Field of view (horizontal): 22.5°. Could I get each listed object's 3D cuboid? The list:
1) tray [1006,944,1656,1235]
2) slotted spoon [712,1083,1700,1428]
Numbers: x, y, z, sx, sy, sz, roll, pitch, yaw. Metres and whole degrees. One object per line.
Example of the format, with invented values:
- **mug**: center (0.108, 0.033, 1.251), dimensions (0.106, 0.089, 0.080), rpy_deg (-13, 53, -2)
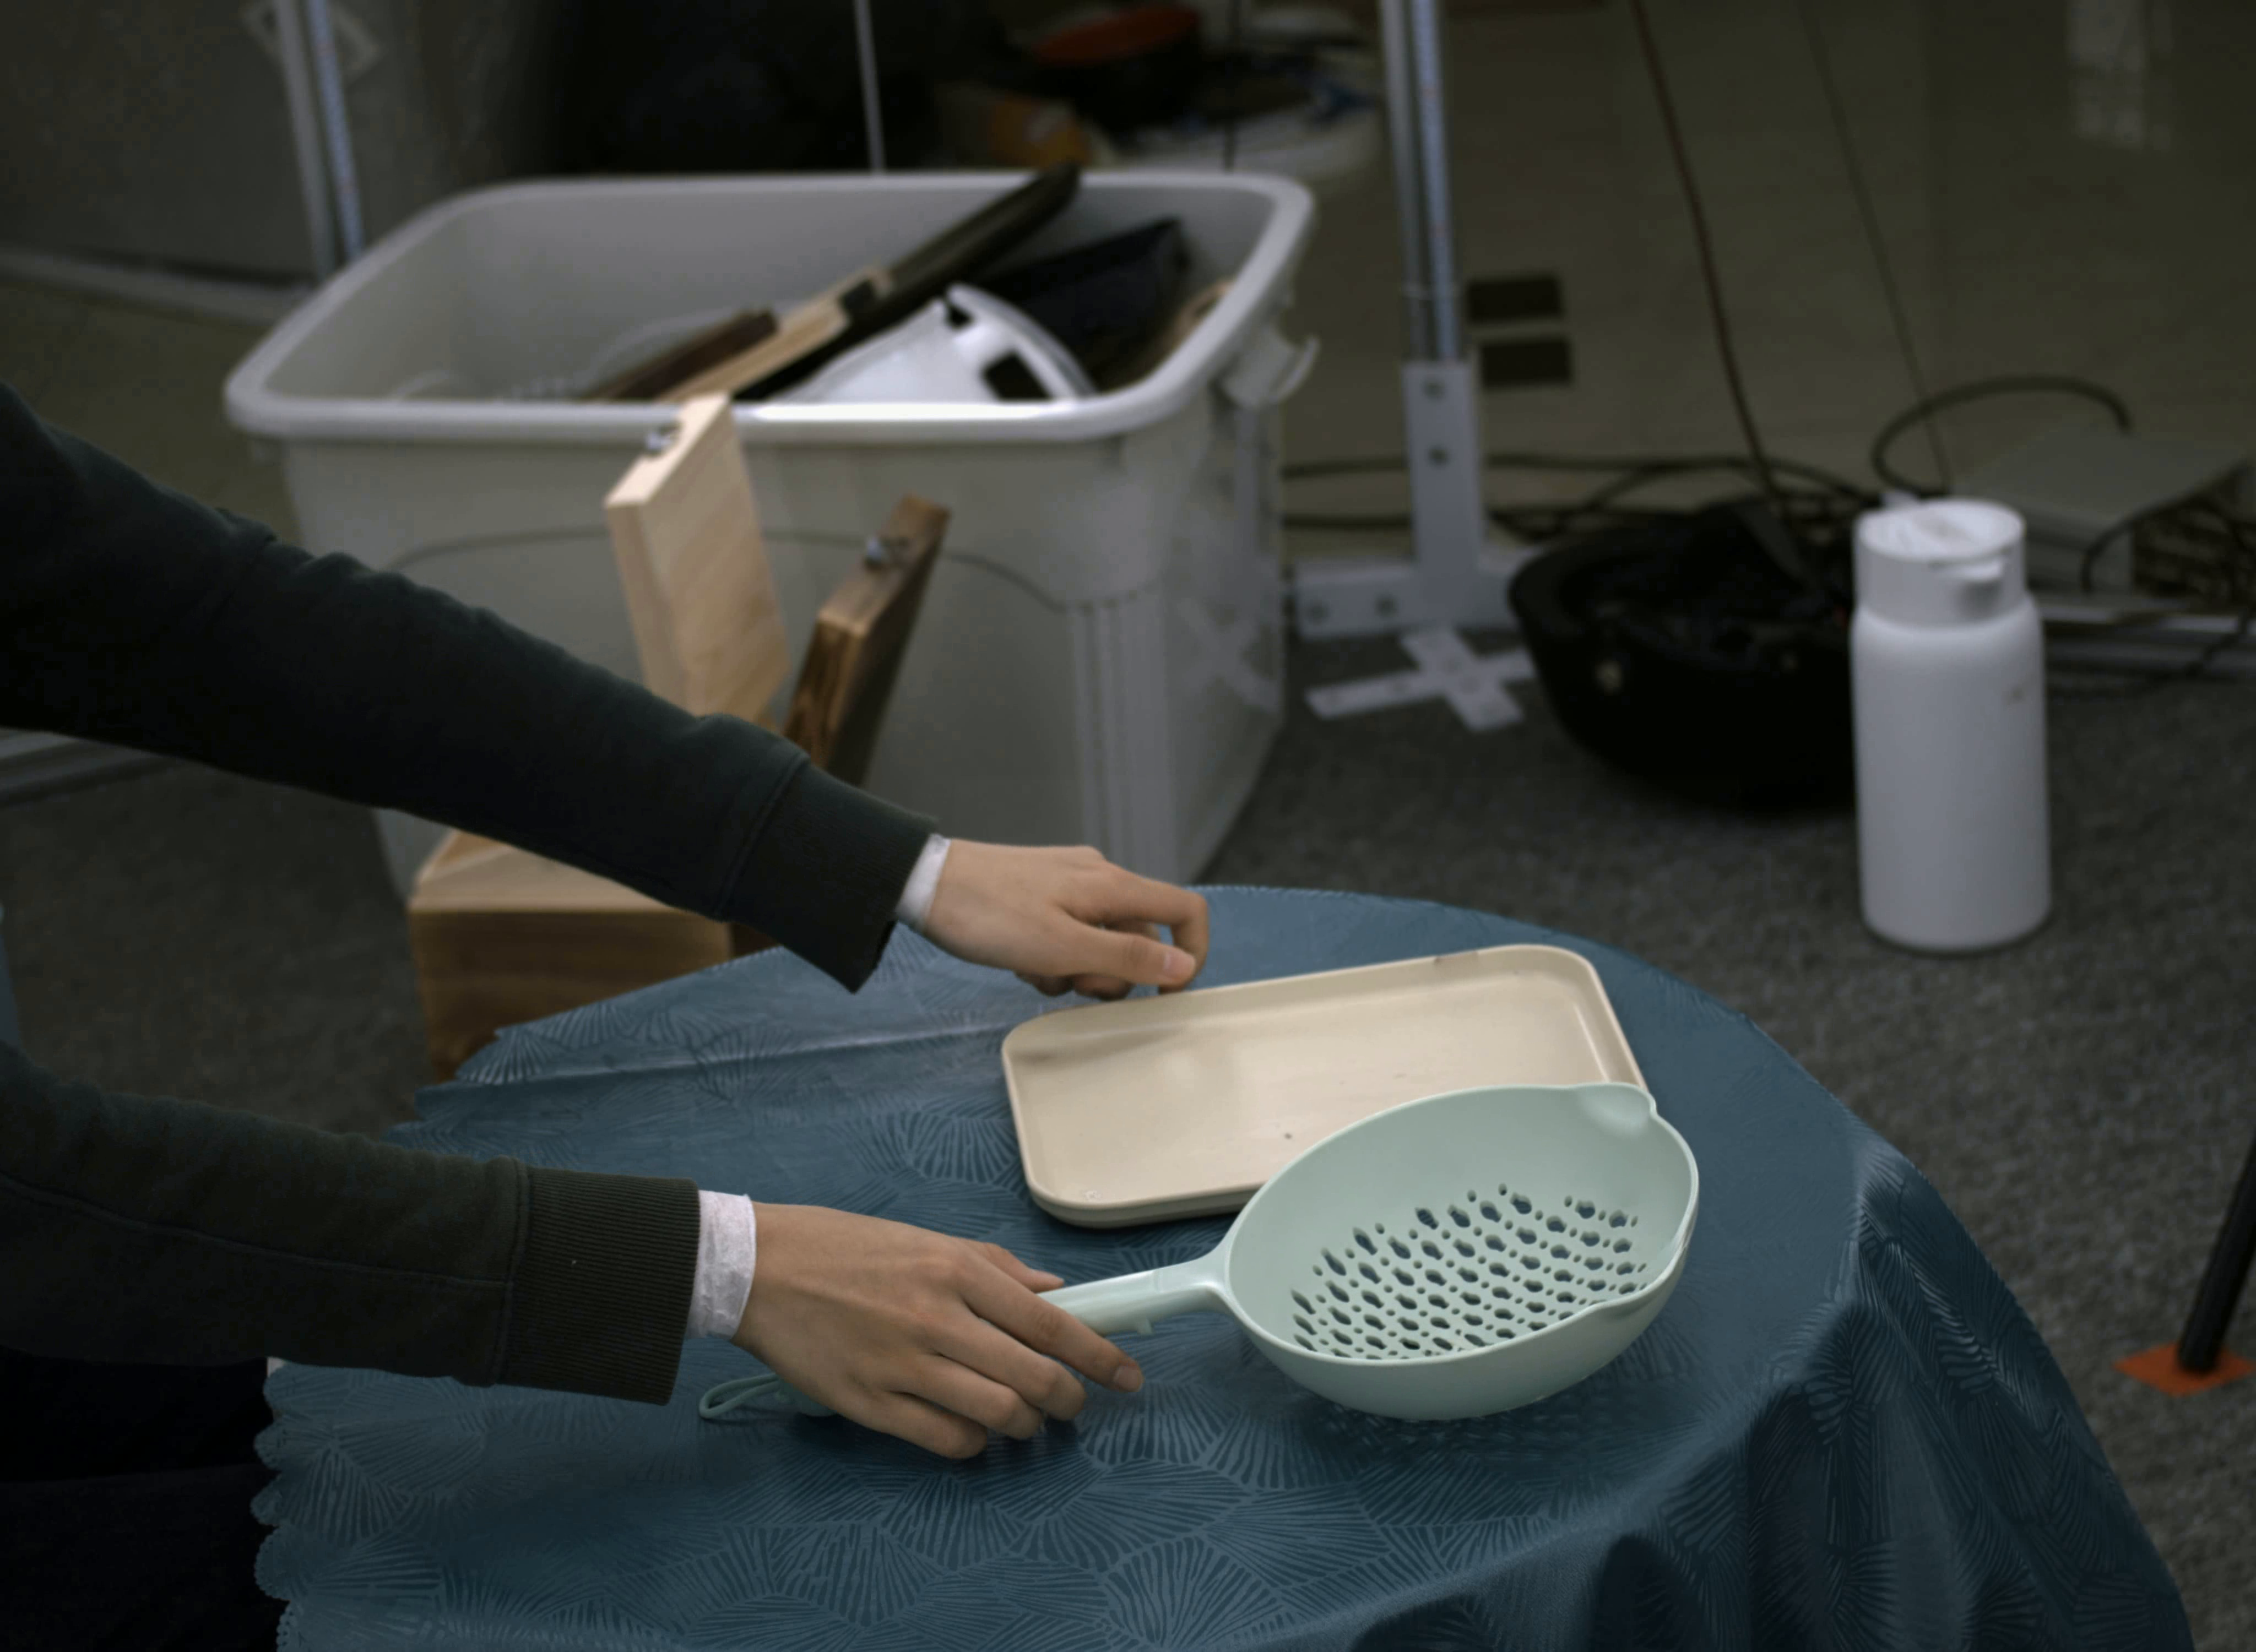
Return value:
- **tray**: center (0.076, 0.103, 2.193), dimensions (0.239, 0.018, 0.169), rpy_deg (-9, 25, -3)
- **slotted spoon**: center (0.025, 0.168, 2.006), dimensions (0.358, 0.076, 0.166), rpy_deg (-5, 29, 4)
